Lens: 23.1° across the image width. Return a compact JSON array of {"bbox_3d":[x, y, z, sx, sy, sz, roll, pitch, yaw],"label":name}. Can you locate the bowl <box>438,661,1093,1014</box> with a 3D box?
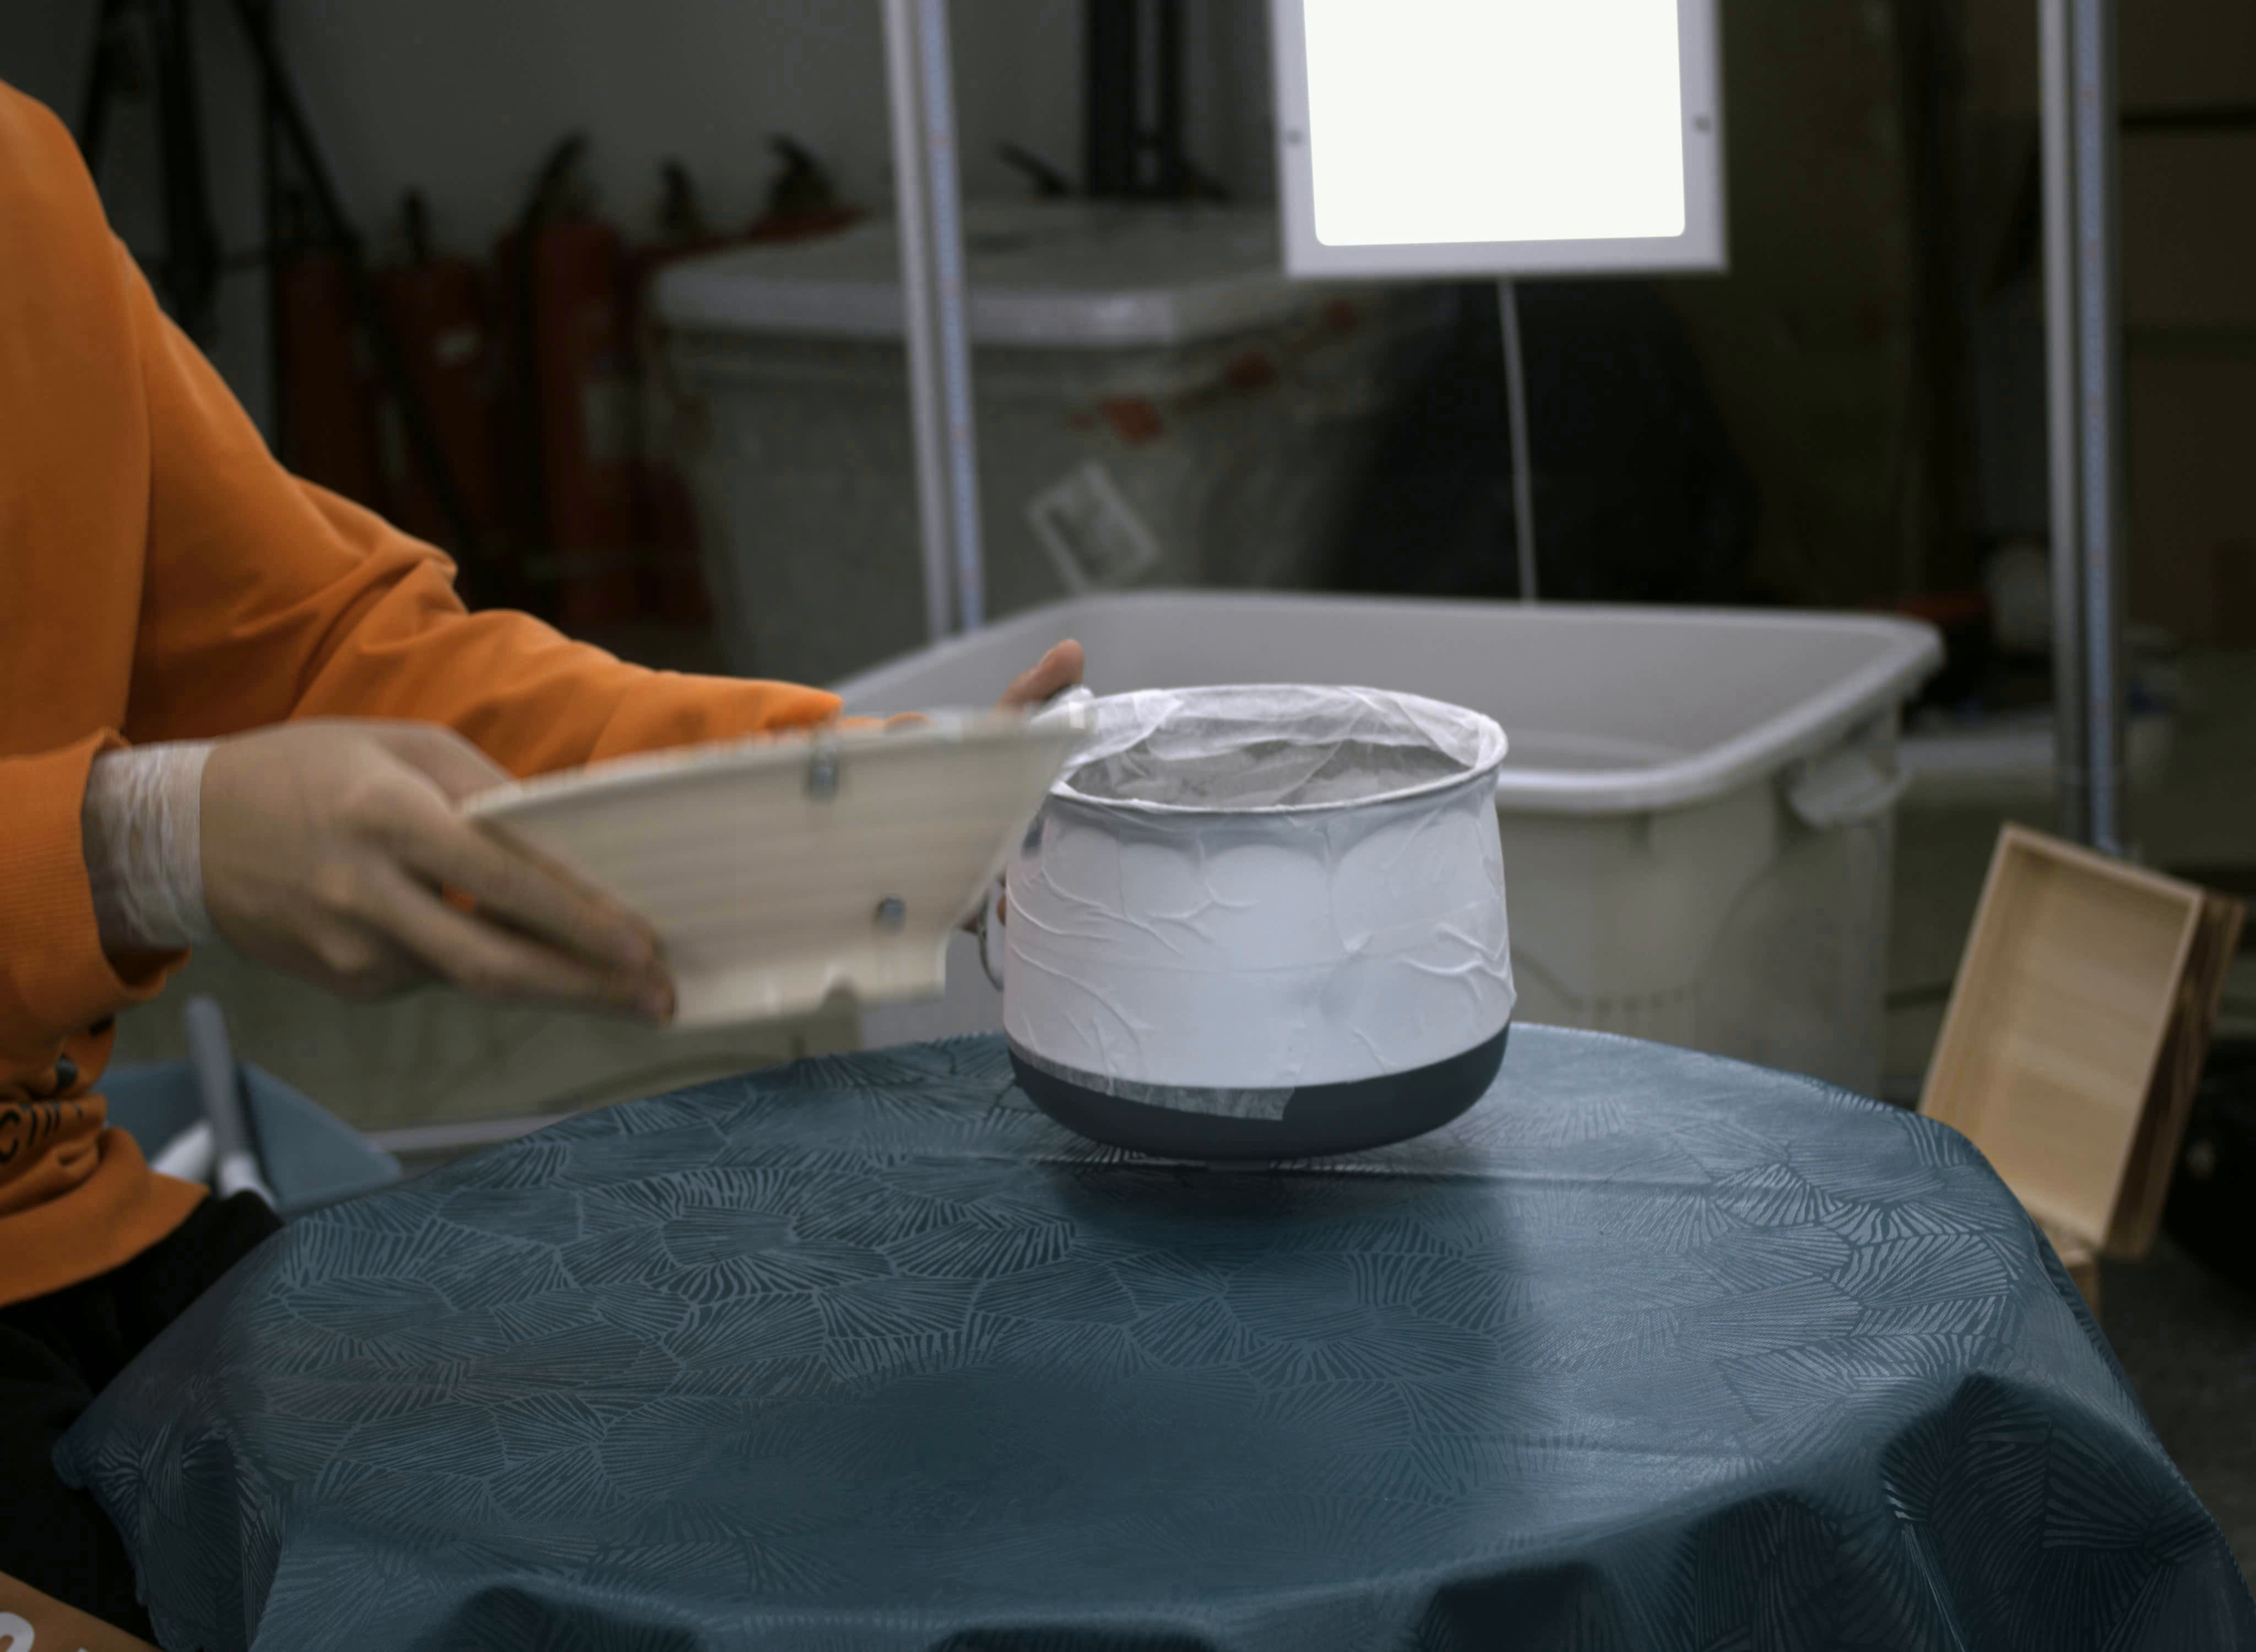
[{"bbox_3d":[-0.103,0.010,1.675,0.203,0.078,0.204,-11,-6,-3],"label":"bowl"}]

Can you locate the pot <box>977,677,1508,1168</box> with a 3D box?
[{"bbox_3d":[0.026,0.026,1.919,0.174,0.137,0.238,-13,18,-37],"label":"pot"}]
